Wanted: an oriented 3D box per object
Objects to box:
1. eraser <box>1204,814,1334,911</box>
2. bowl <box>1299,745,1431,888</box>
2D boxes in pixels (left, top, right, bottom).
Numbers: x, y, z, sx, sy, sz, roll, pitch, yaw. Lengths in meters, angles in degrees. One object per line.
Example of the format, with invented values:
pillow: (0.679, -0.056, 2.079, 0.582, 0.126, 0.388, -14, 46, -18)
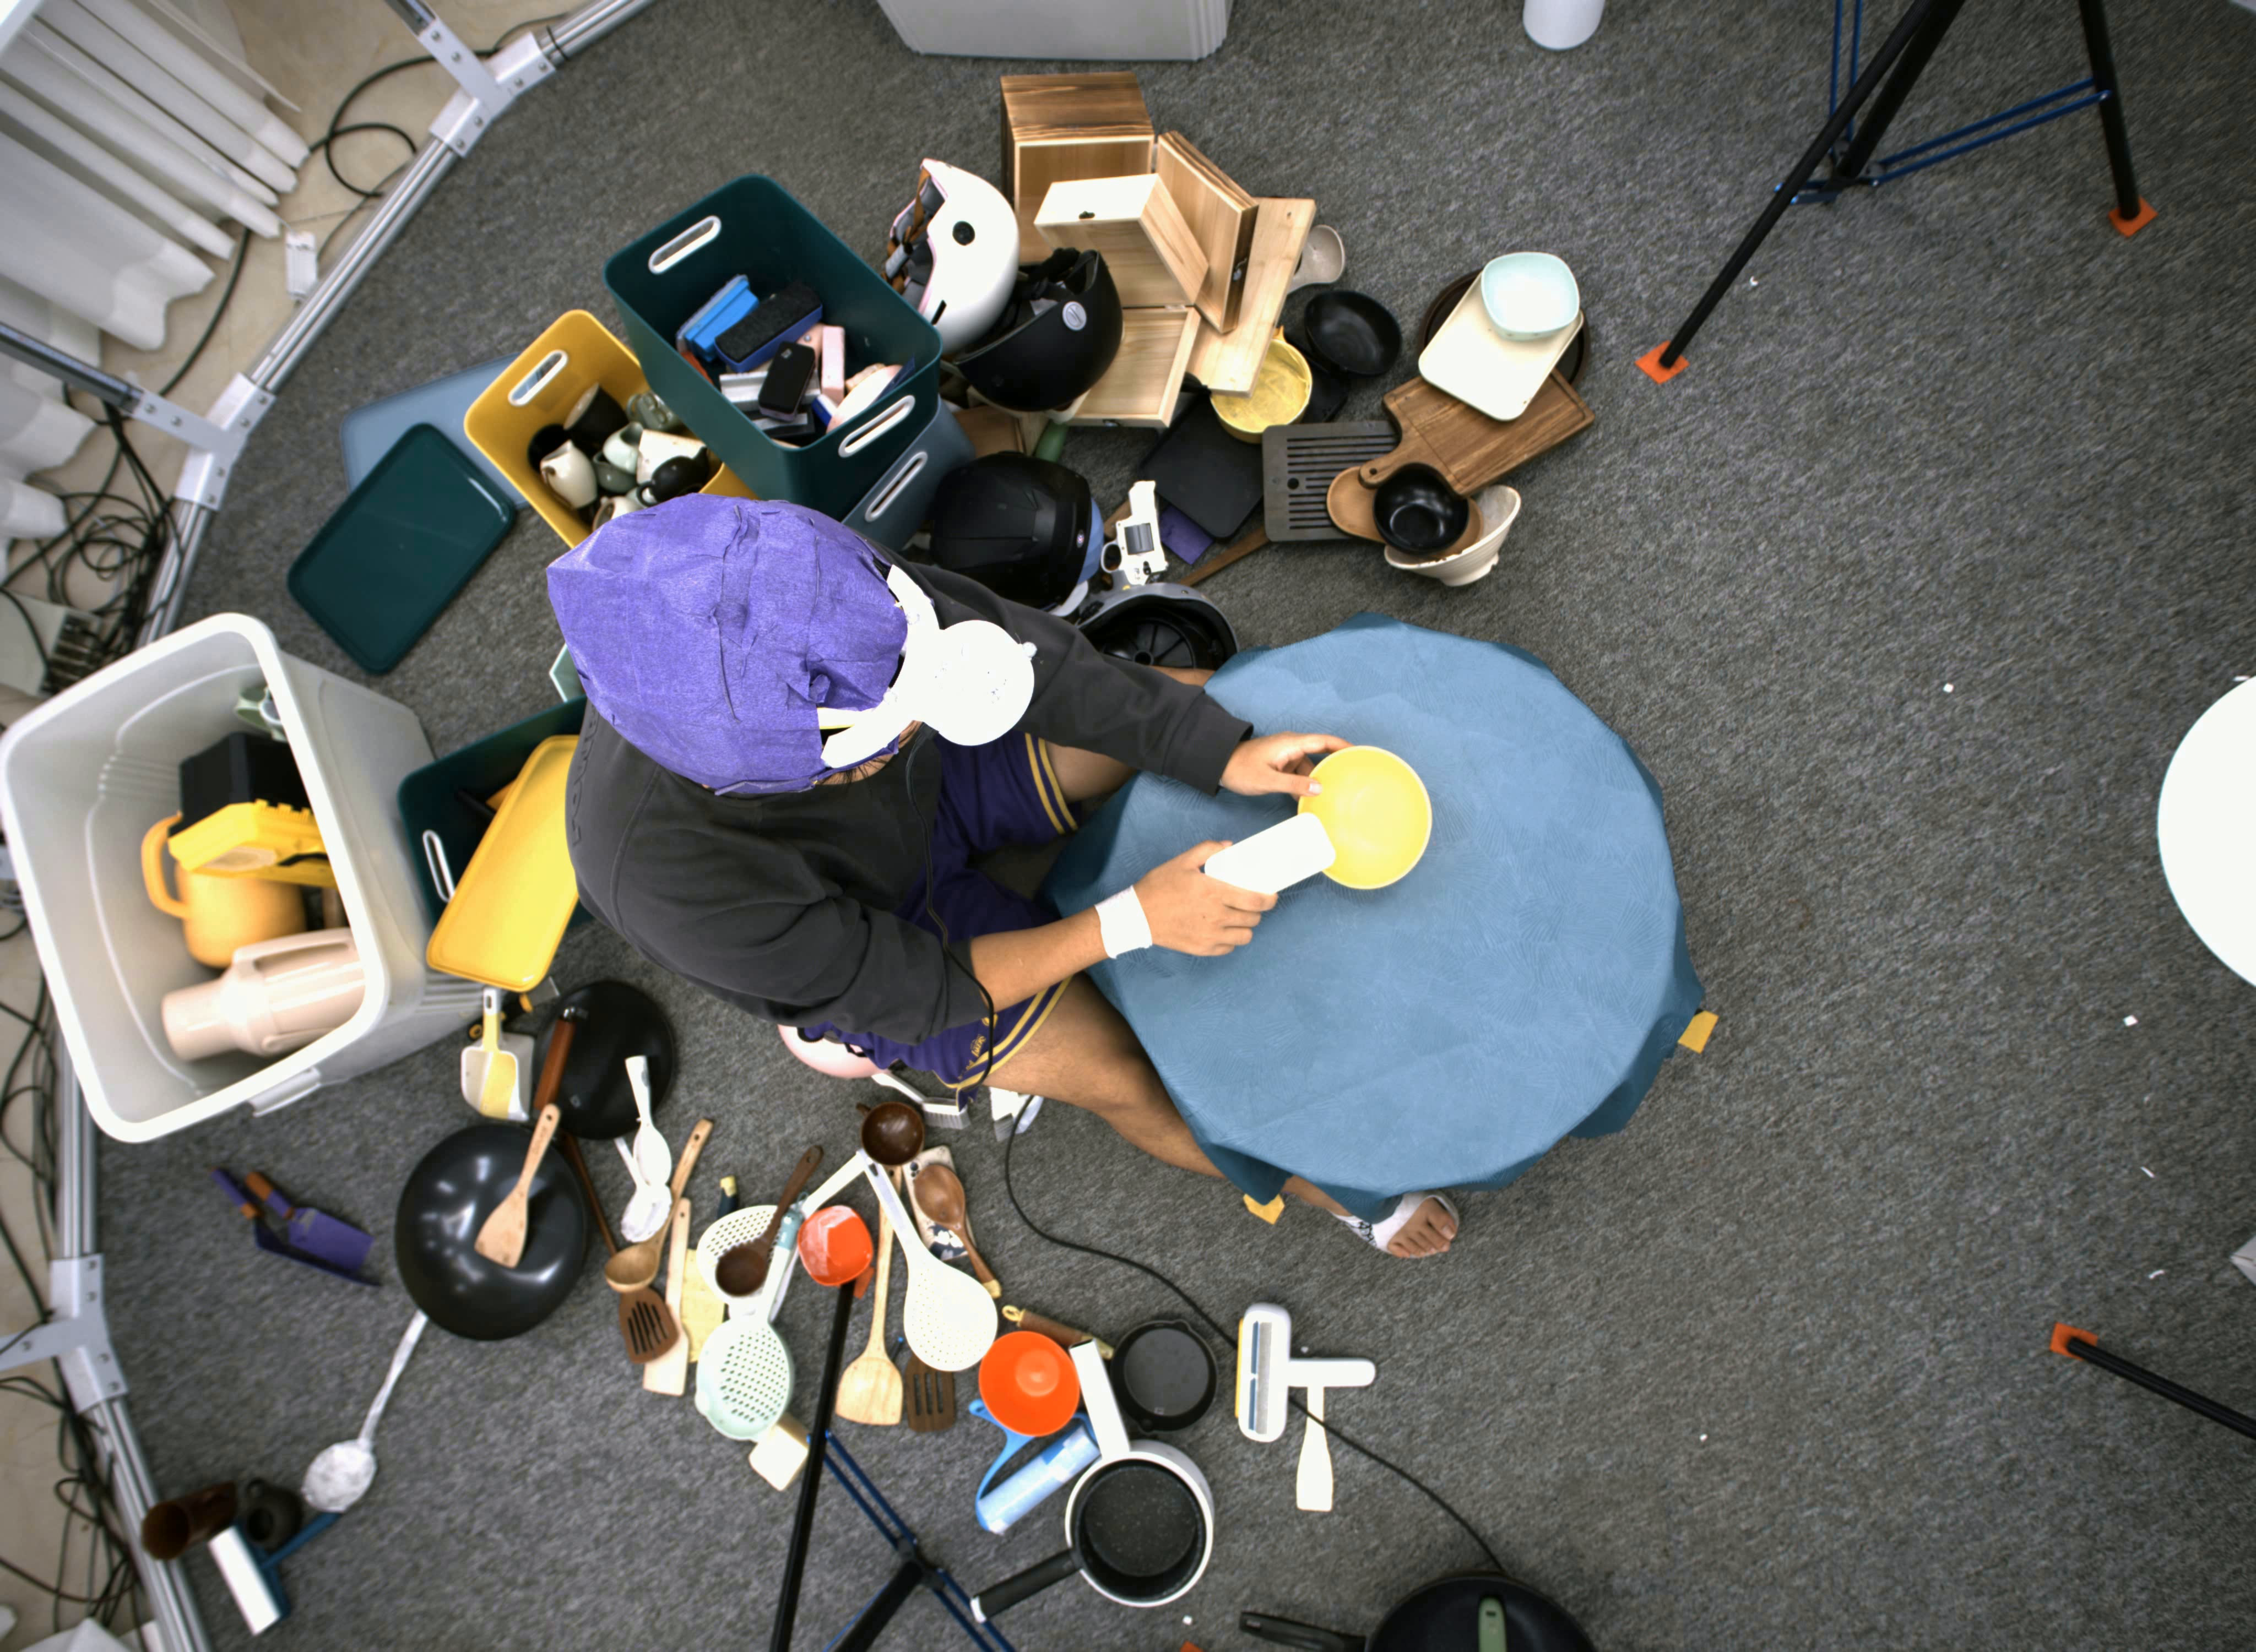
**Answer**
eraser: (0.142, 0.036, 1.408, 0.131, 0.035, 0.063, -24, 84, -8)
bowl: (0.253, -0.013, 1.419, 0.146, 0.059, 0.146, 5, 100, 34)
